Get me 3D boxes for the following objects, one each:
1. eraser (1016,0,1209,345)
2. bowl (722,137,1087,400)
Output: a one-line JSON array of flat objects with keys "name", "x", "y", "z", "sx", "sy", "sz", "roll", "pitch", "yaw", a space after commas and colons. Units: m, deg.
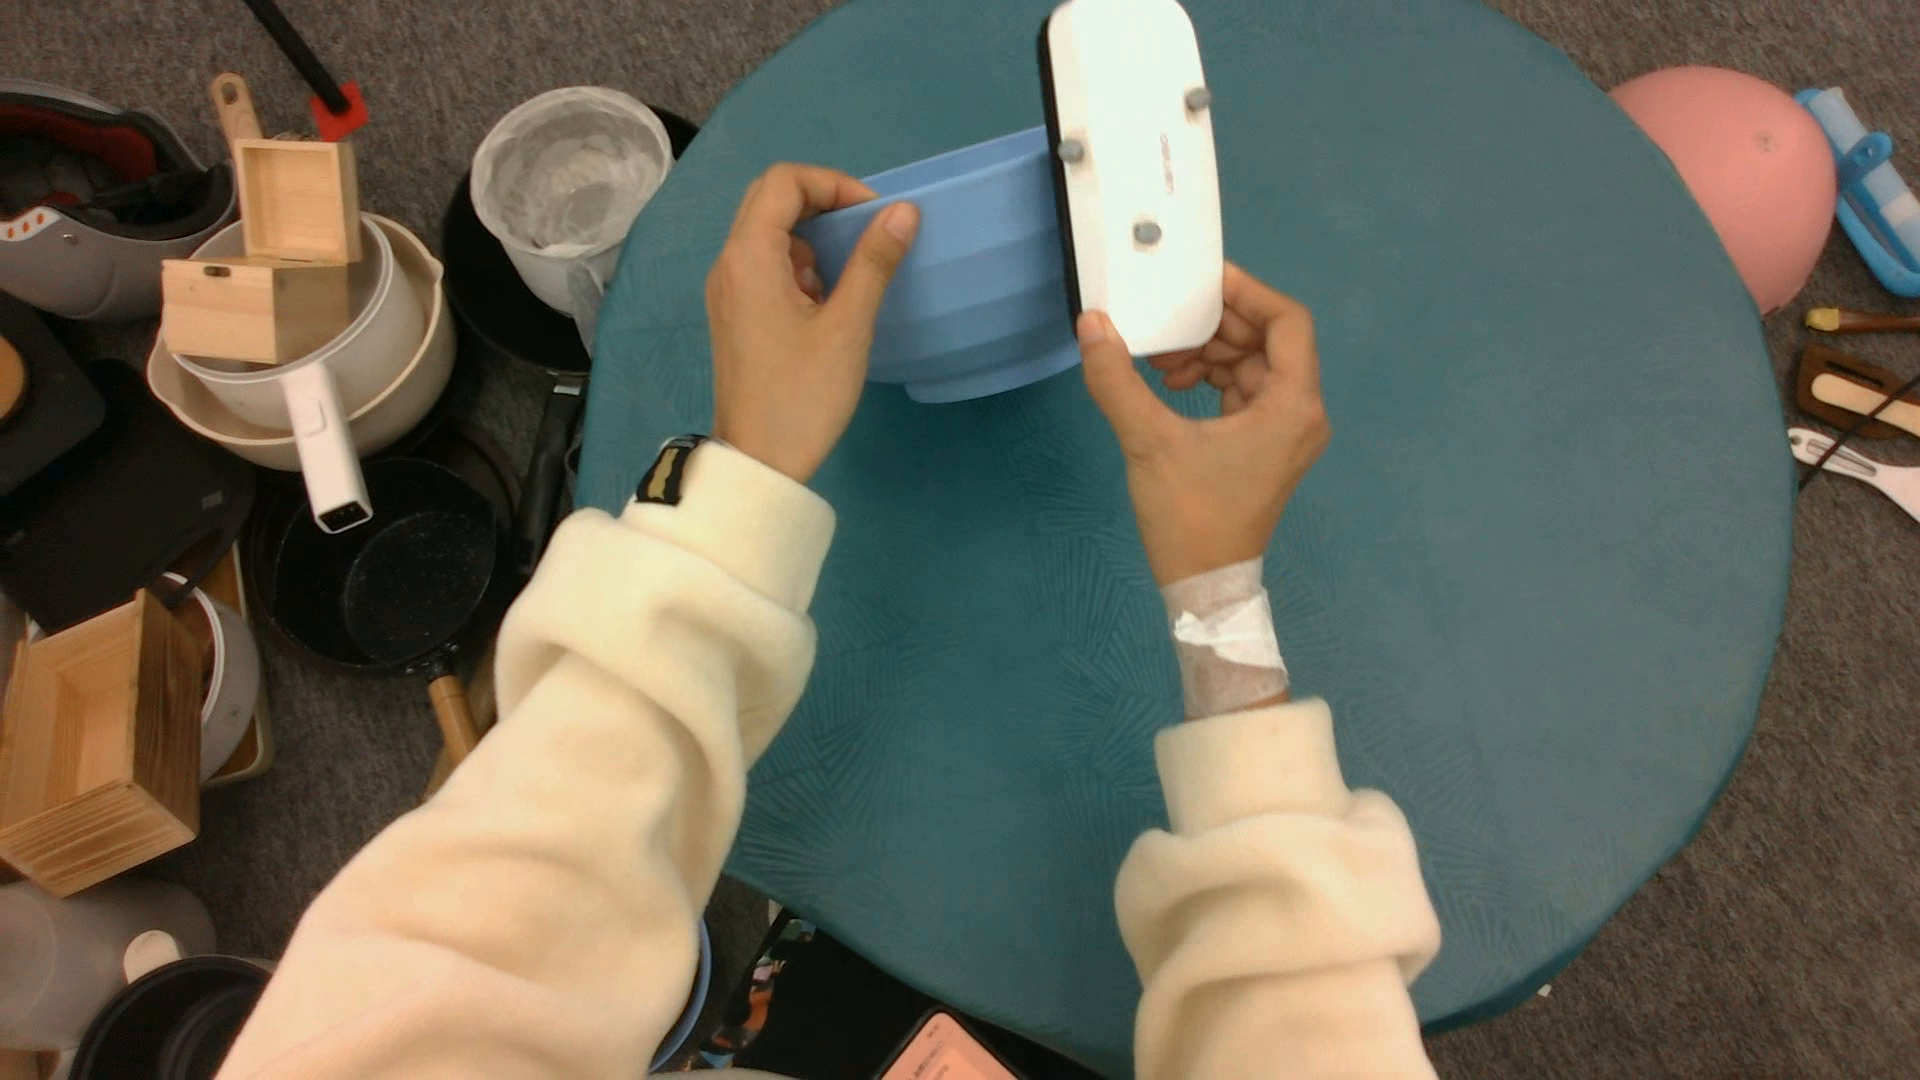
[{"name": "eraser", "x": 0.058, "y": -0.139, "z": 0.512, "sx": 0.063, "sy": 0.034, "sz": 0.131, "roll": -14, "pitch": 98, "yaw": -37}, {"name": "bowl", "x": 0.001, "y": -0.120, "z": 0.612, "sx": 0.196, "sy": 0.197, "sz": 0.095, "roll": -11, "pitch": 109, "yaw": -3}]
